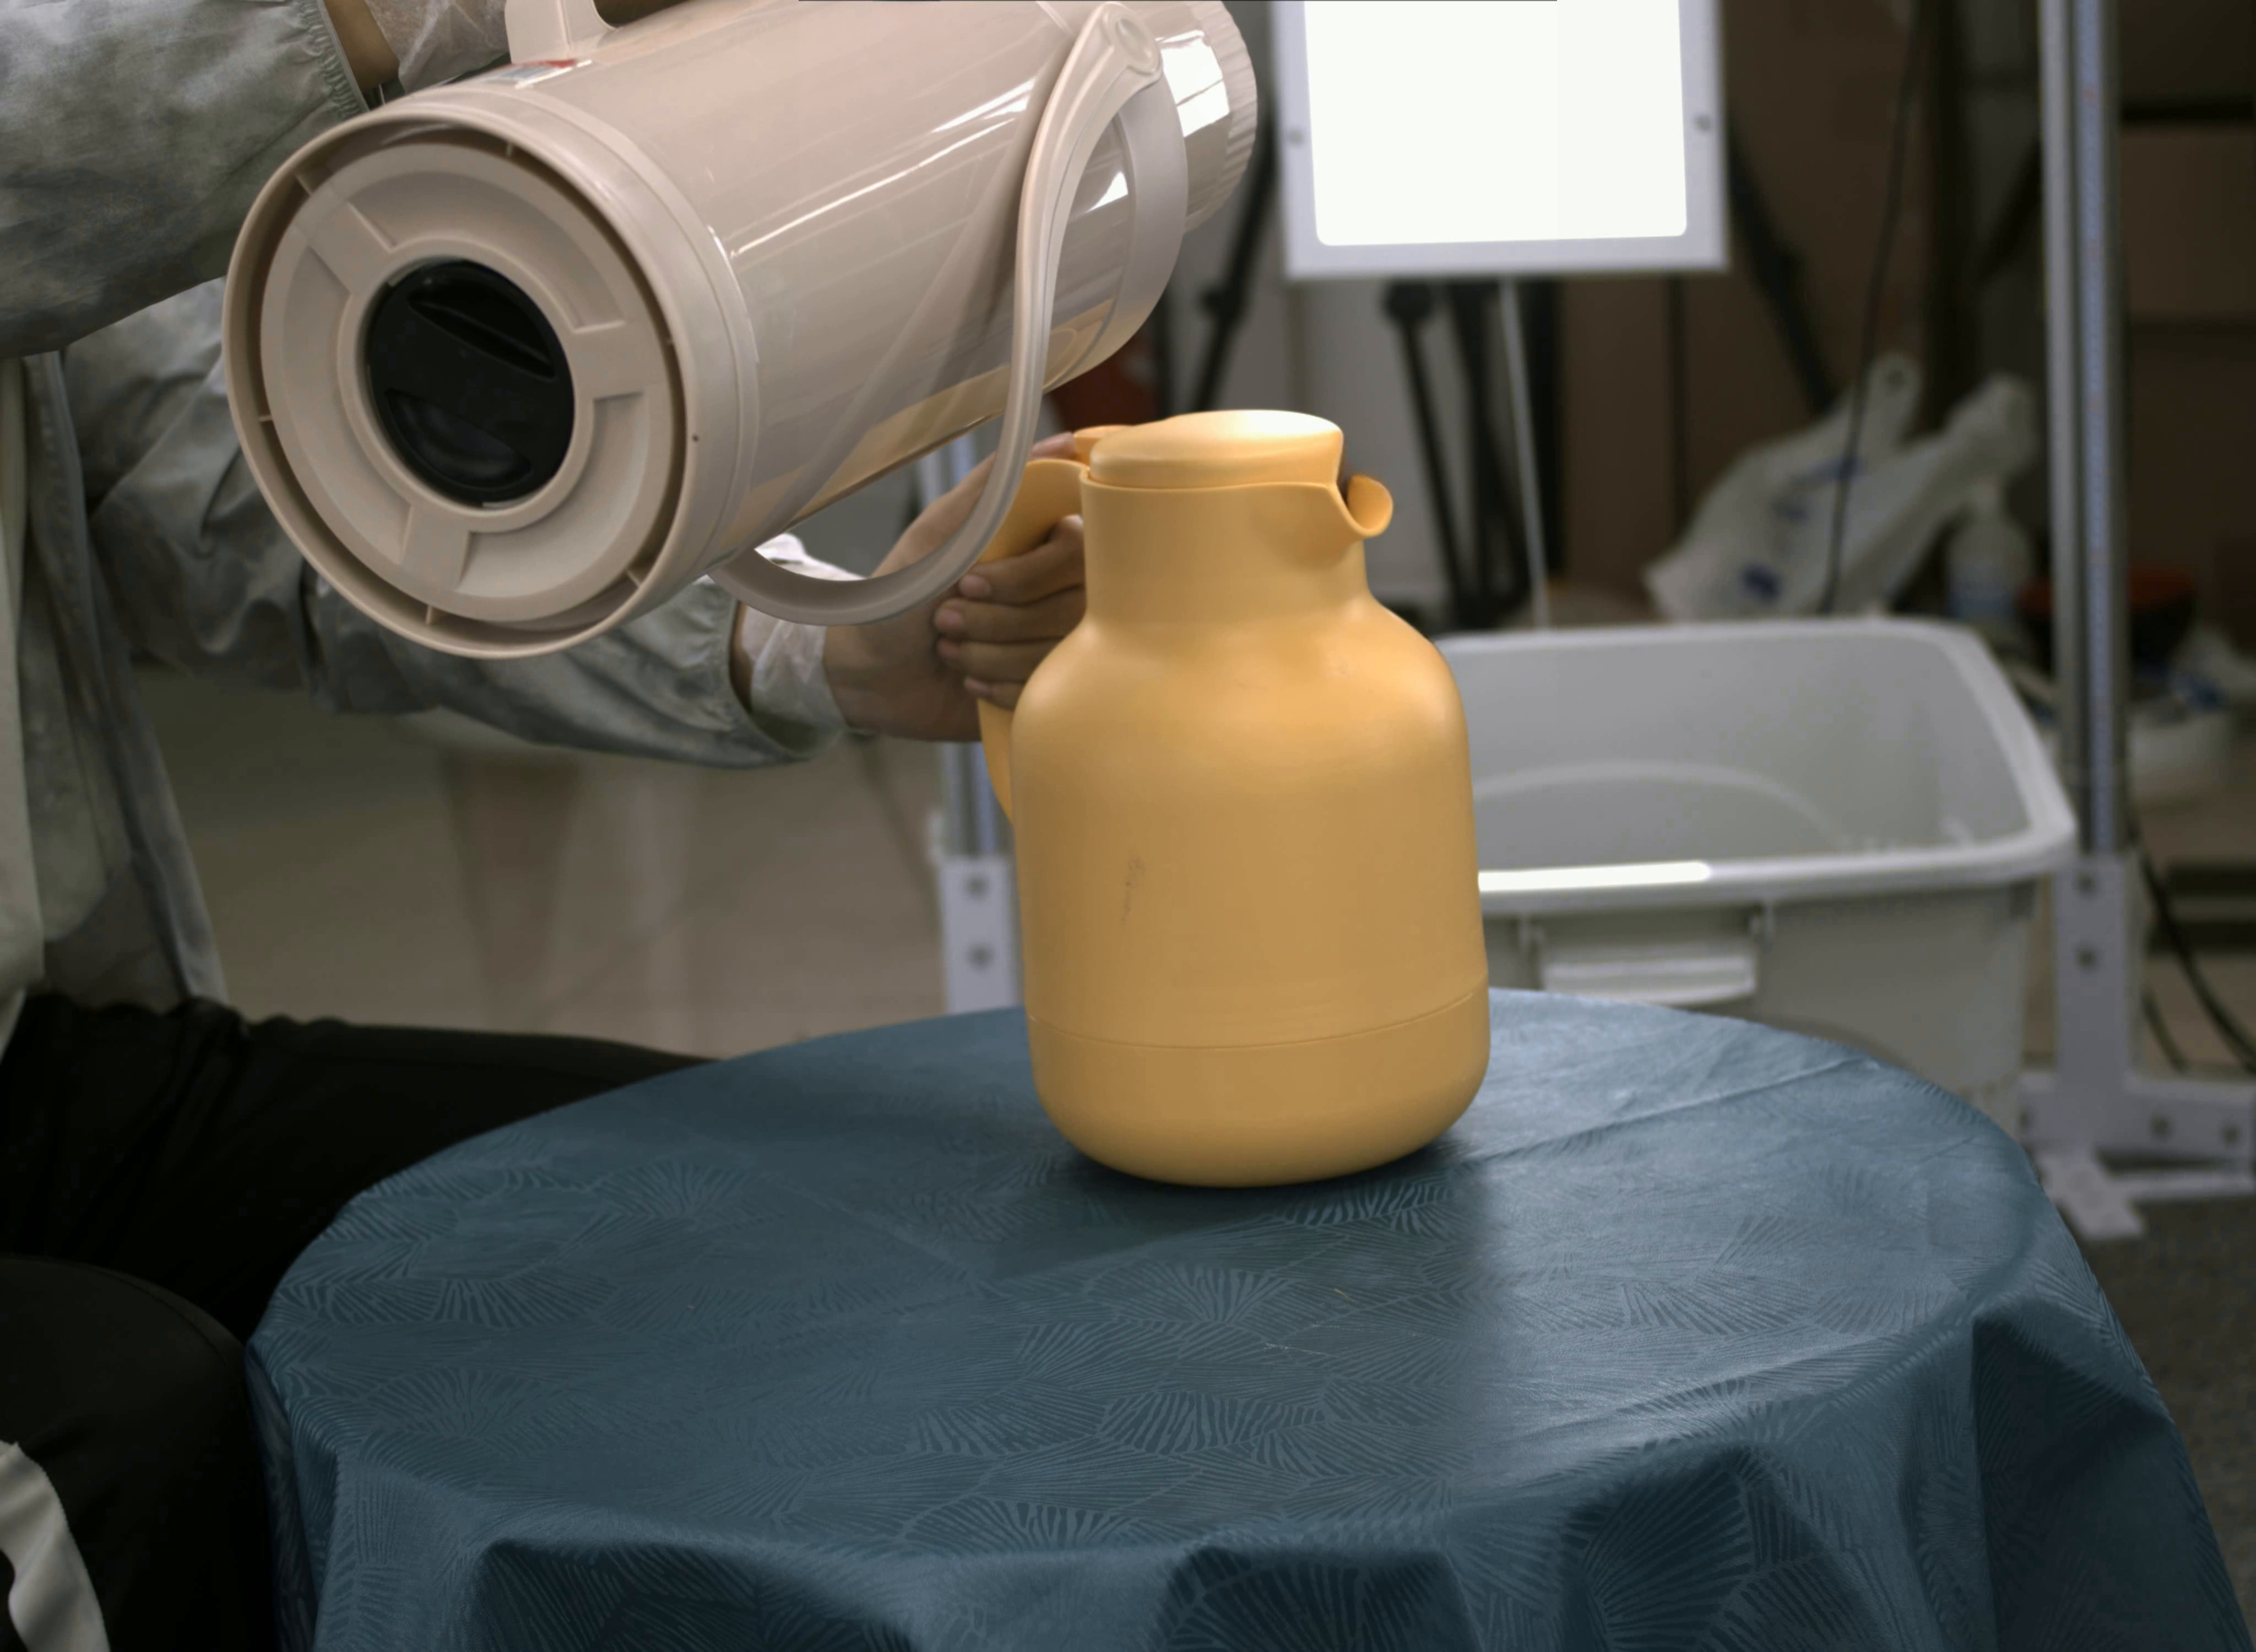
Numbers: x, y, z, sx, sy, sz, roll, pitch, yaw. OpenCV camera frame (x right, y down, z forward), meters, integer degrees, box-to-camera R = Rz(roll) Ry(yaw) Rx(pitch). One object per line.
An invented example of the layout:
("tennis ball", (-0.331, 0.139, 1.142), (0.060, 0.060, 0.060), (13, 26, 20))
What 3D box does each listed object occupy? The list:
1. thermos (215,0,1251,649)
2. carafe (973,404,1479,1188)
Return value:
("thermos", (-0.106, -0.197, 1.686), (0.179, 0.207, 0.397), (-30, 2, 36))
("carafe", (0.026, -0.017, 1.923), (0.159, 0.261, 0.207), (-13, 17, -39))
